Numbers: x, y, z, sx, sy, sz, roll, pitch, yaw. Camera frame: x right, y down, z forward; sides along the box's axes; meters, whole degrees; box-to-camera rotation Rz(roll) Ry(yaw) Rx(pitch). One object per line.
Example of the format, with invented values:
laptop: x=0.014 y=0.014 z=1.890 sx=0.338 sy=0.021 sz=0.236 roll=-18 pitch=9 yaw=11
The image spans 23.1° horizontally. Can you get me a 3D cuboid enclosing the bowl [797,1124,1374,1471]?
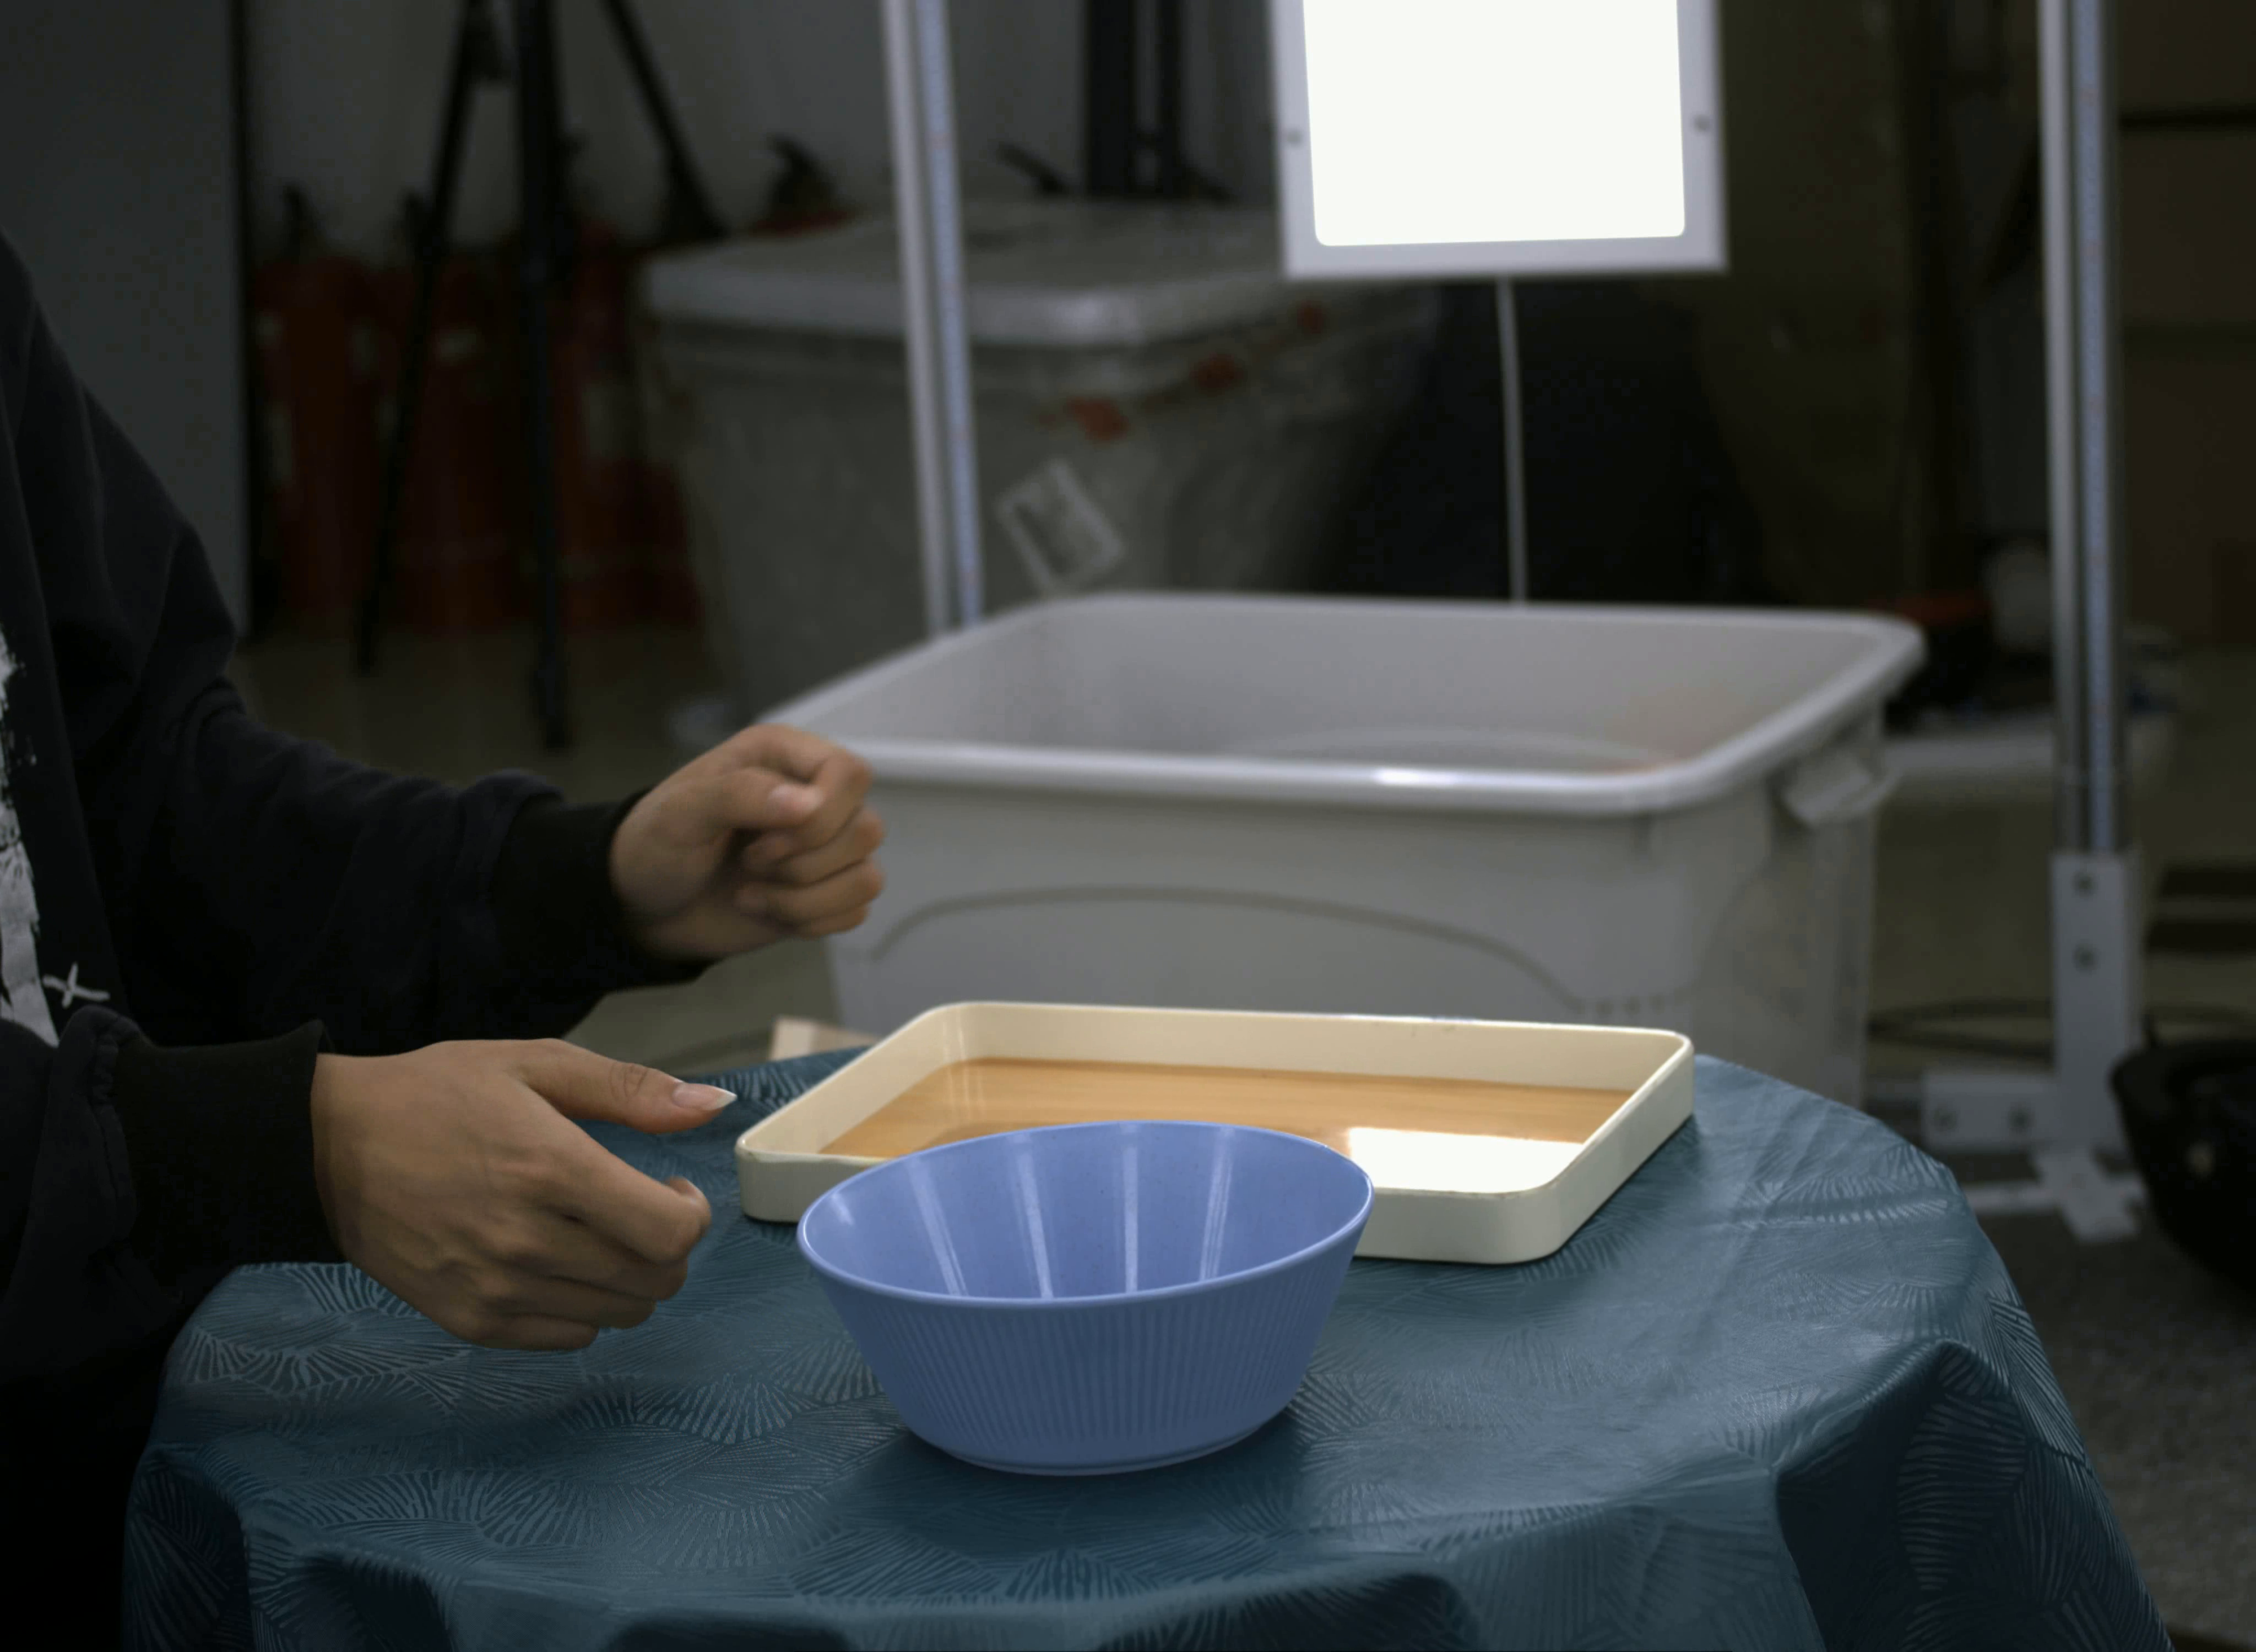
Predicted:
bowl: x=-0.011 y=0.145 z=1.673 sx=0.175 sy=0.070 sz=0.176 roll=-4 pitch=14 yaw=0

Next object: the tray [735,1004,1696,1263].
tray: x=0.033 y=0.105 z=1.919 sx=0.305 sy=0.027 sz=0.188 roll=2 pitch=15 yaw=25
